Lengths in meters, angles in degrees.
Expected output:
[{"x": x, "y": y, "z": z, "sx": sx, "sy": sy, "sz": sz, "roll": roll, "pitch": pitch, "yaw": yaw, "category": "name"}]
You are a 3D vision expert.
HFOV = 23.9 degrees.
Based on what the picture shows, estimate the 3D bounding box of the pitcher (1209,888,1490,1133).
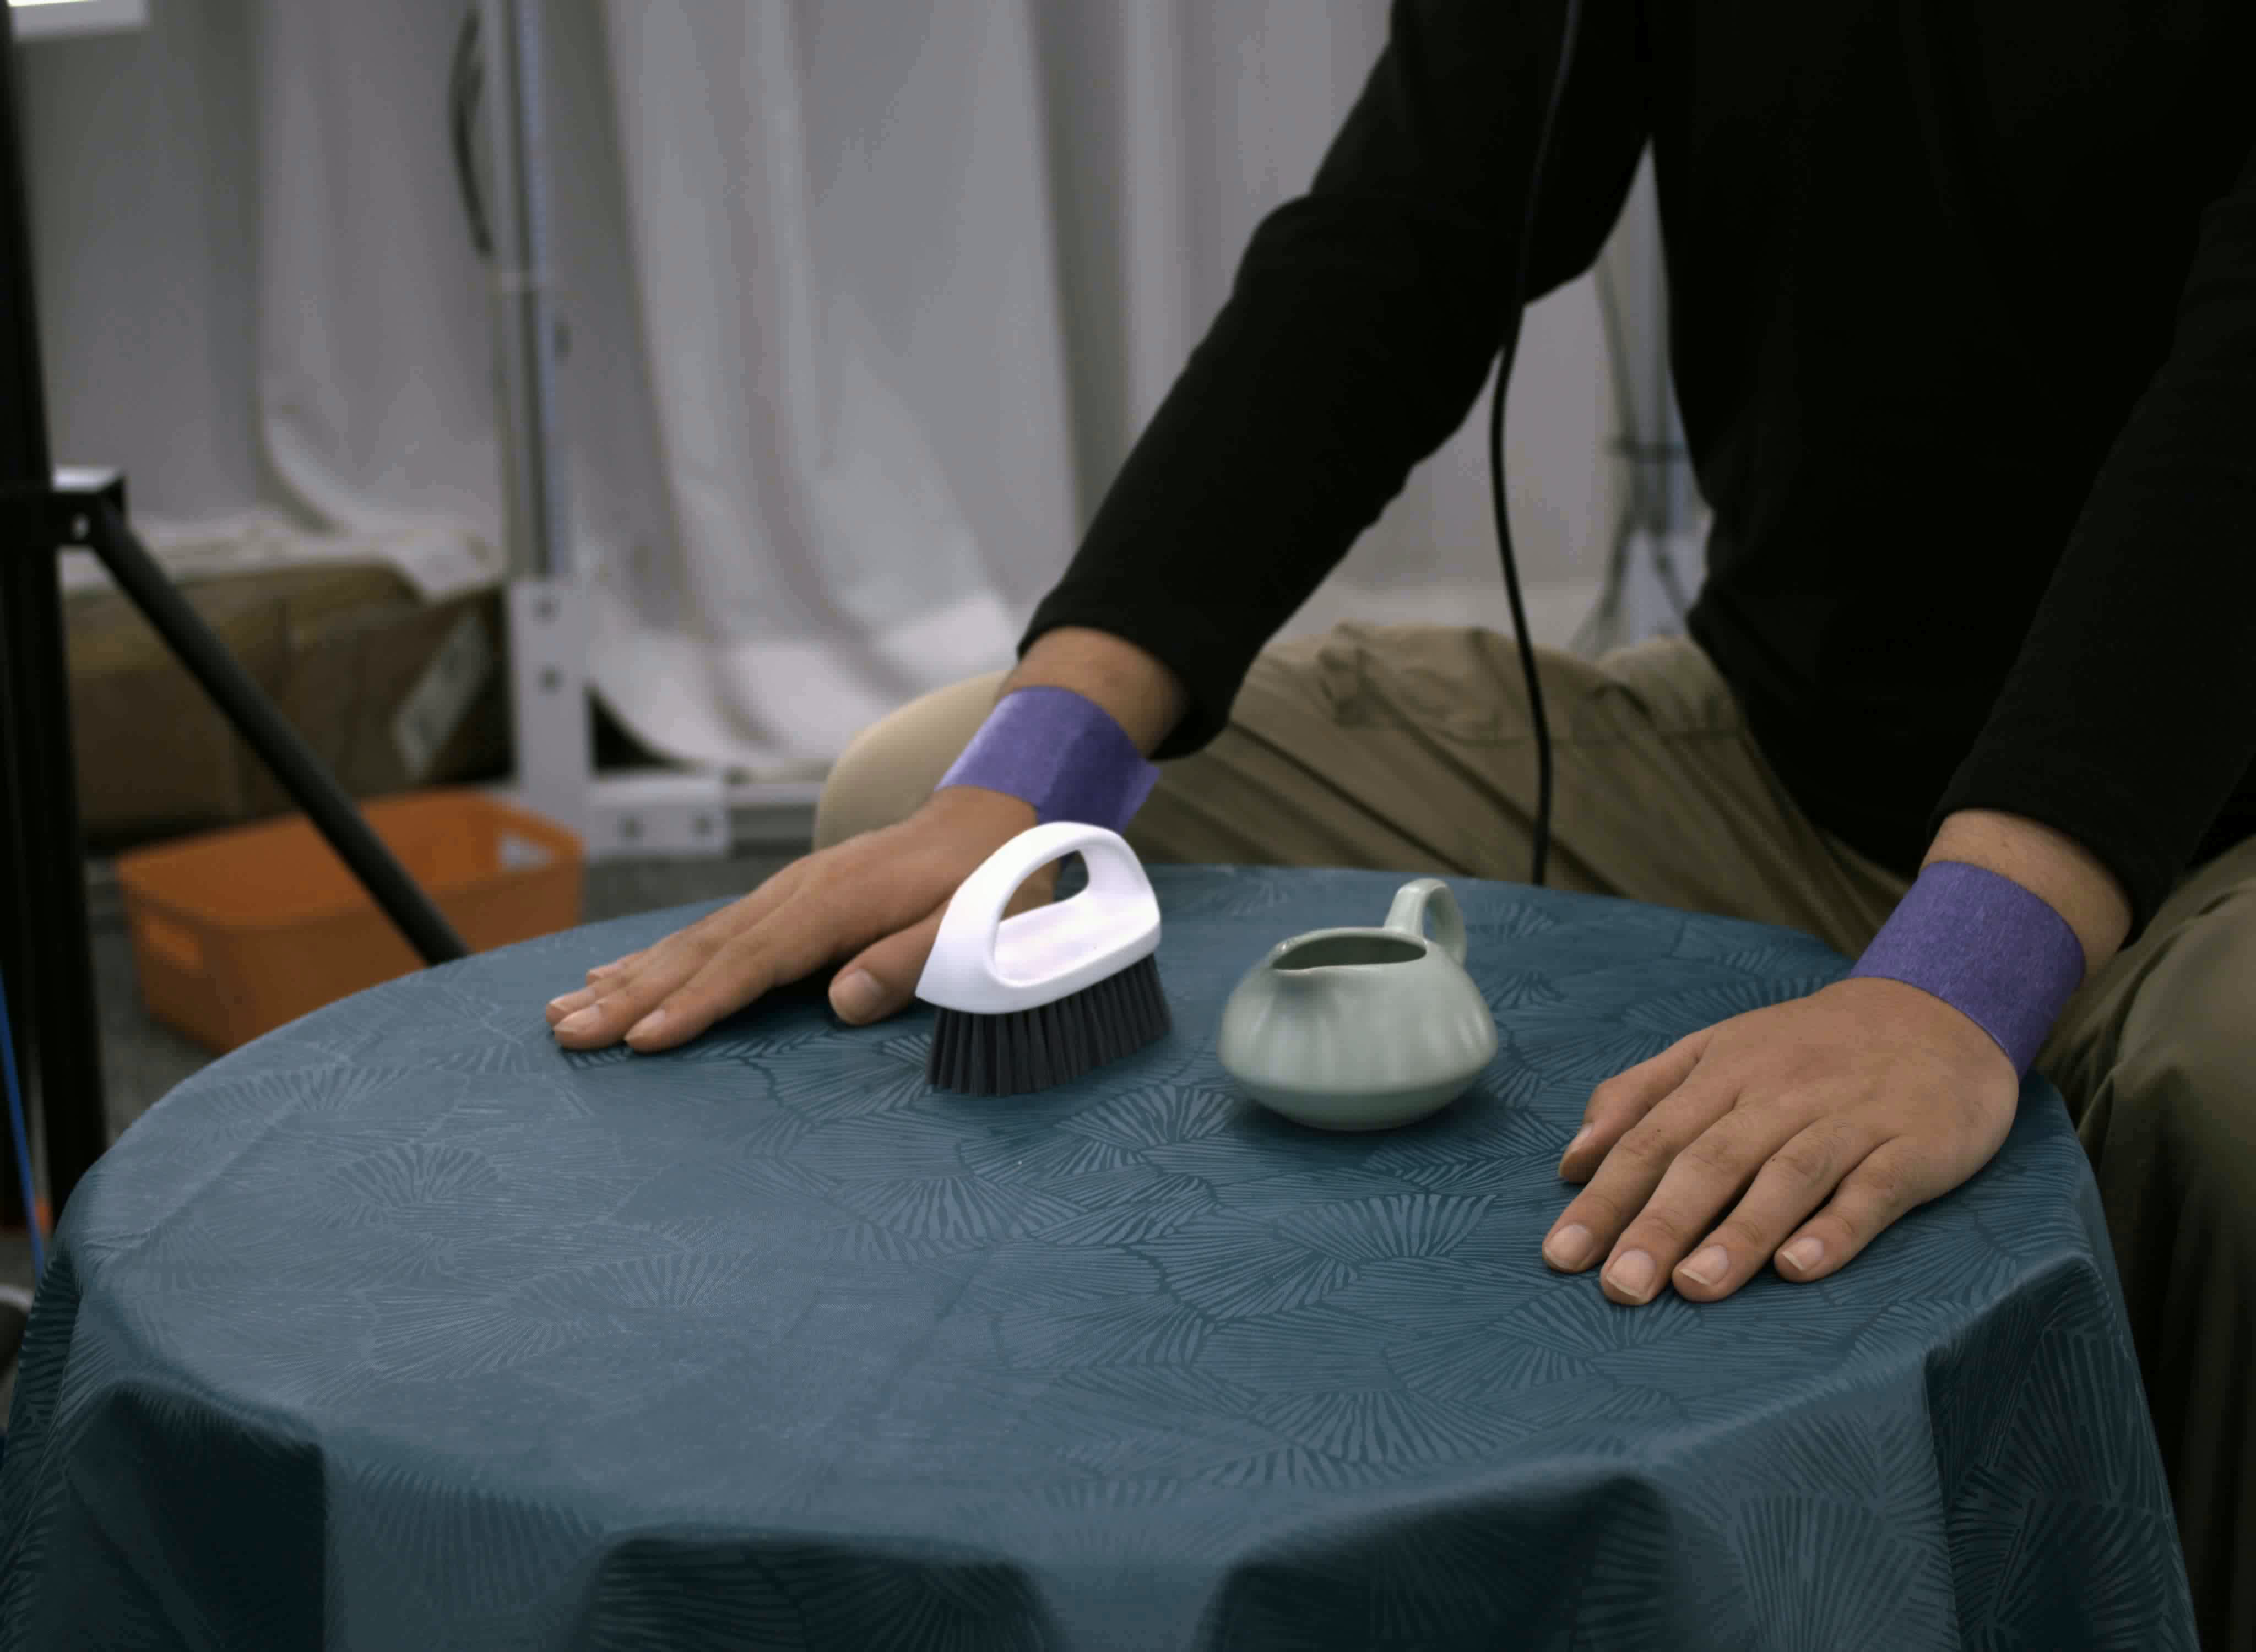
[{"x": 0.073, "y": 0.057, "z": 1.627, "sx": 0.087, "sy": 0.060, "sz": 0.106, "roll": 7, "pitch": 15, "yaw": 28, "category": "pitcher"}]

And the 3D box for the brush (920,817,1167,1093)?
[{"x": -0.027, "y": 0.035, "z": 1.684, "sx": 0.051, "sy": 0.072, "sz": 0.097, "roll": 10, "pitch": 21, "yaw": 37, "category": "brush"}]
